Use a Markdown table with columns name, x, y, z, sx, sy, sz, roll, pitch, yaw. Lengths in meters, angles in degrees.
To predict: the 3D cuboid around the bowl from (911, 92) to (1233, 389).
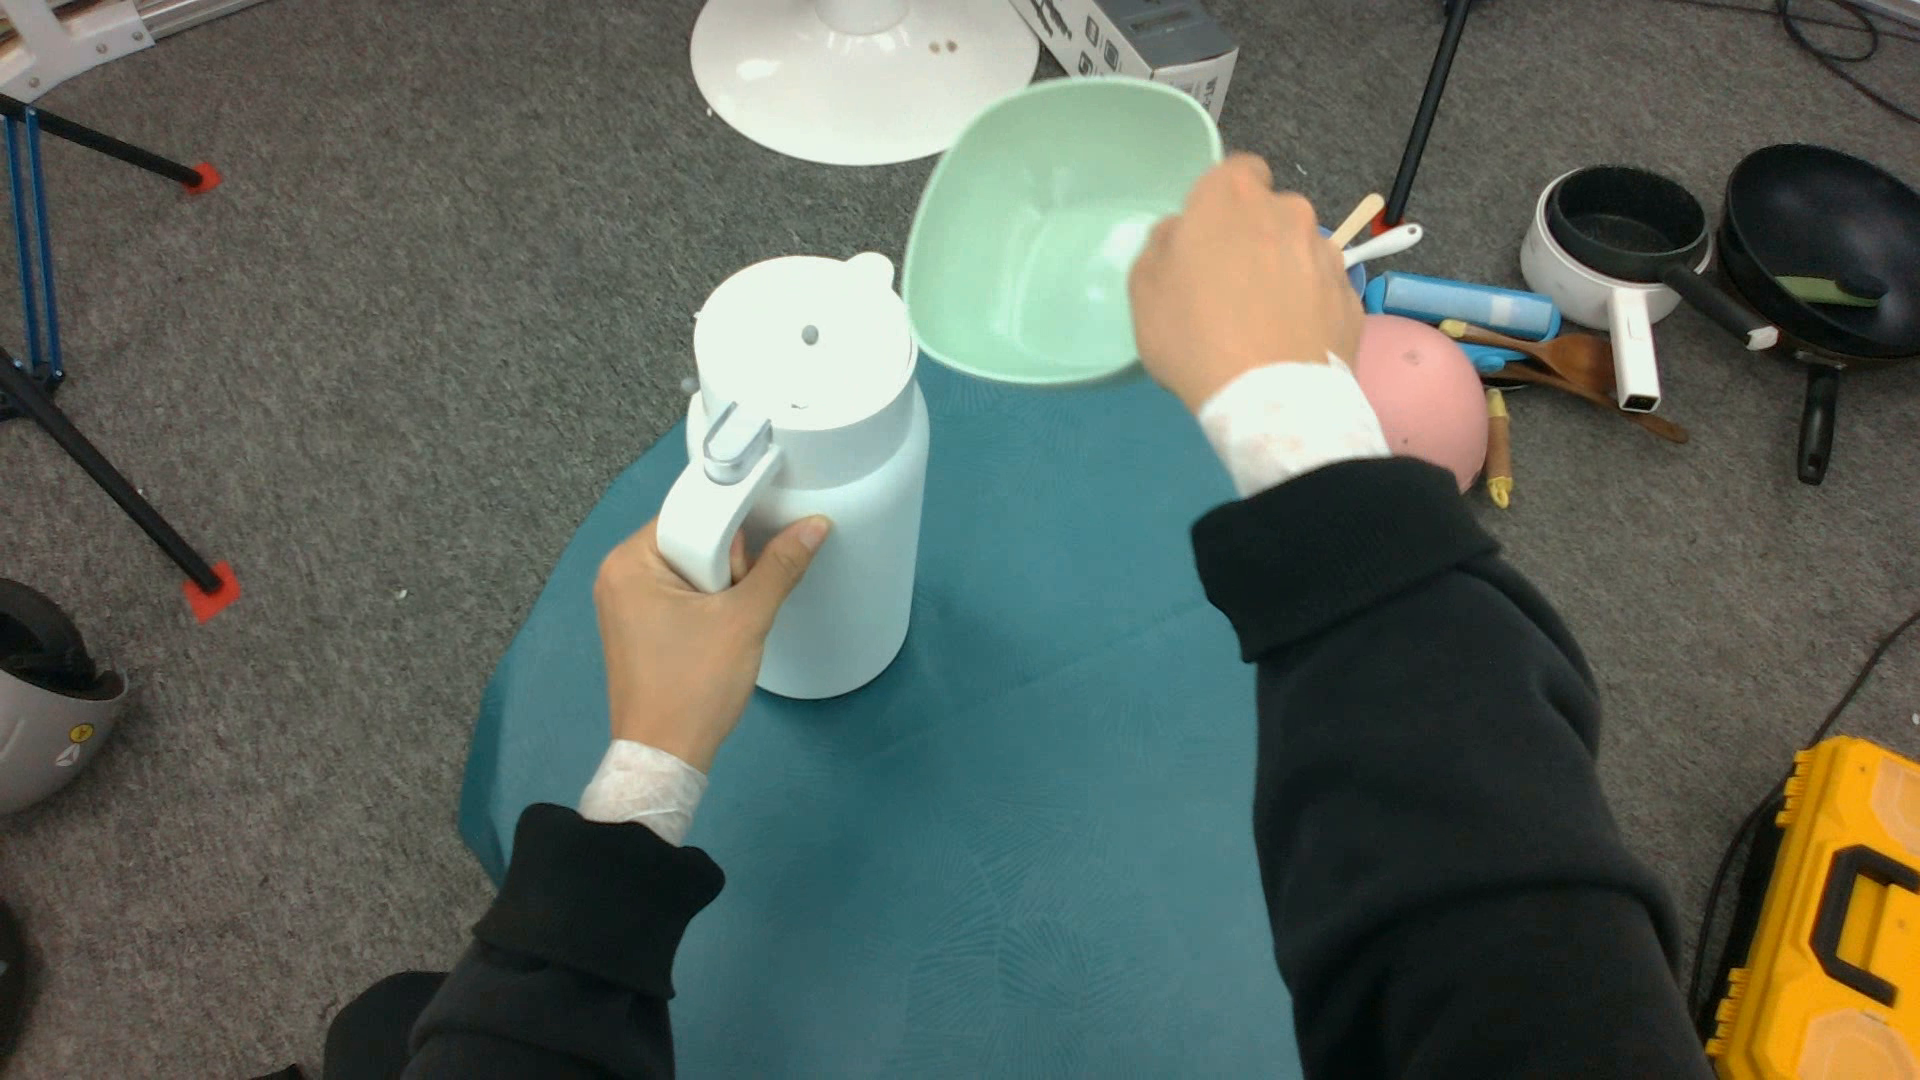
| name | x | y | z | sx | sy | sz | roll | pitch | yaw |
| --- | --- | --- | --- | --- | --- | --- | --- | --- | --- |
| bowl | 0.055 | -0.123 | 0.609 | 0.151 | 0.058 | 0.152 | -8 | 68 | 21 |

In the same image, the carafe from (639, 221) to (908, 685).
| name | x | y | z | sx | sy | sz | roll | pitch | yaw |
| --- | --- | --- | --- | --- | --- | --- | --- | --- | --- |
| carafe | -0.095 | -0.017 | 0.707 | 0.124 | 0.267 | 0.173 | 25 | 60 | 7 |
